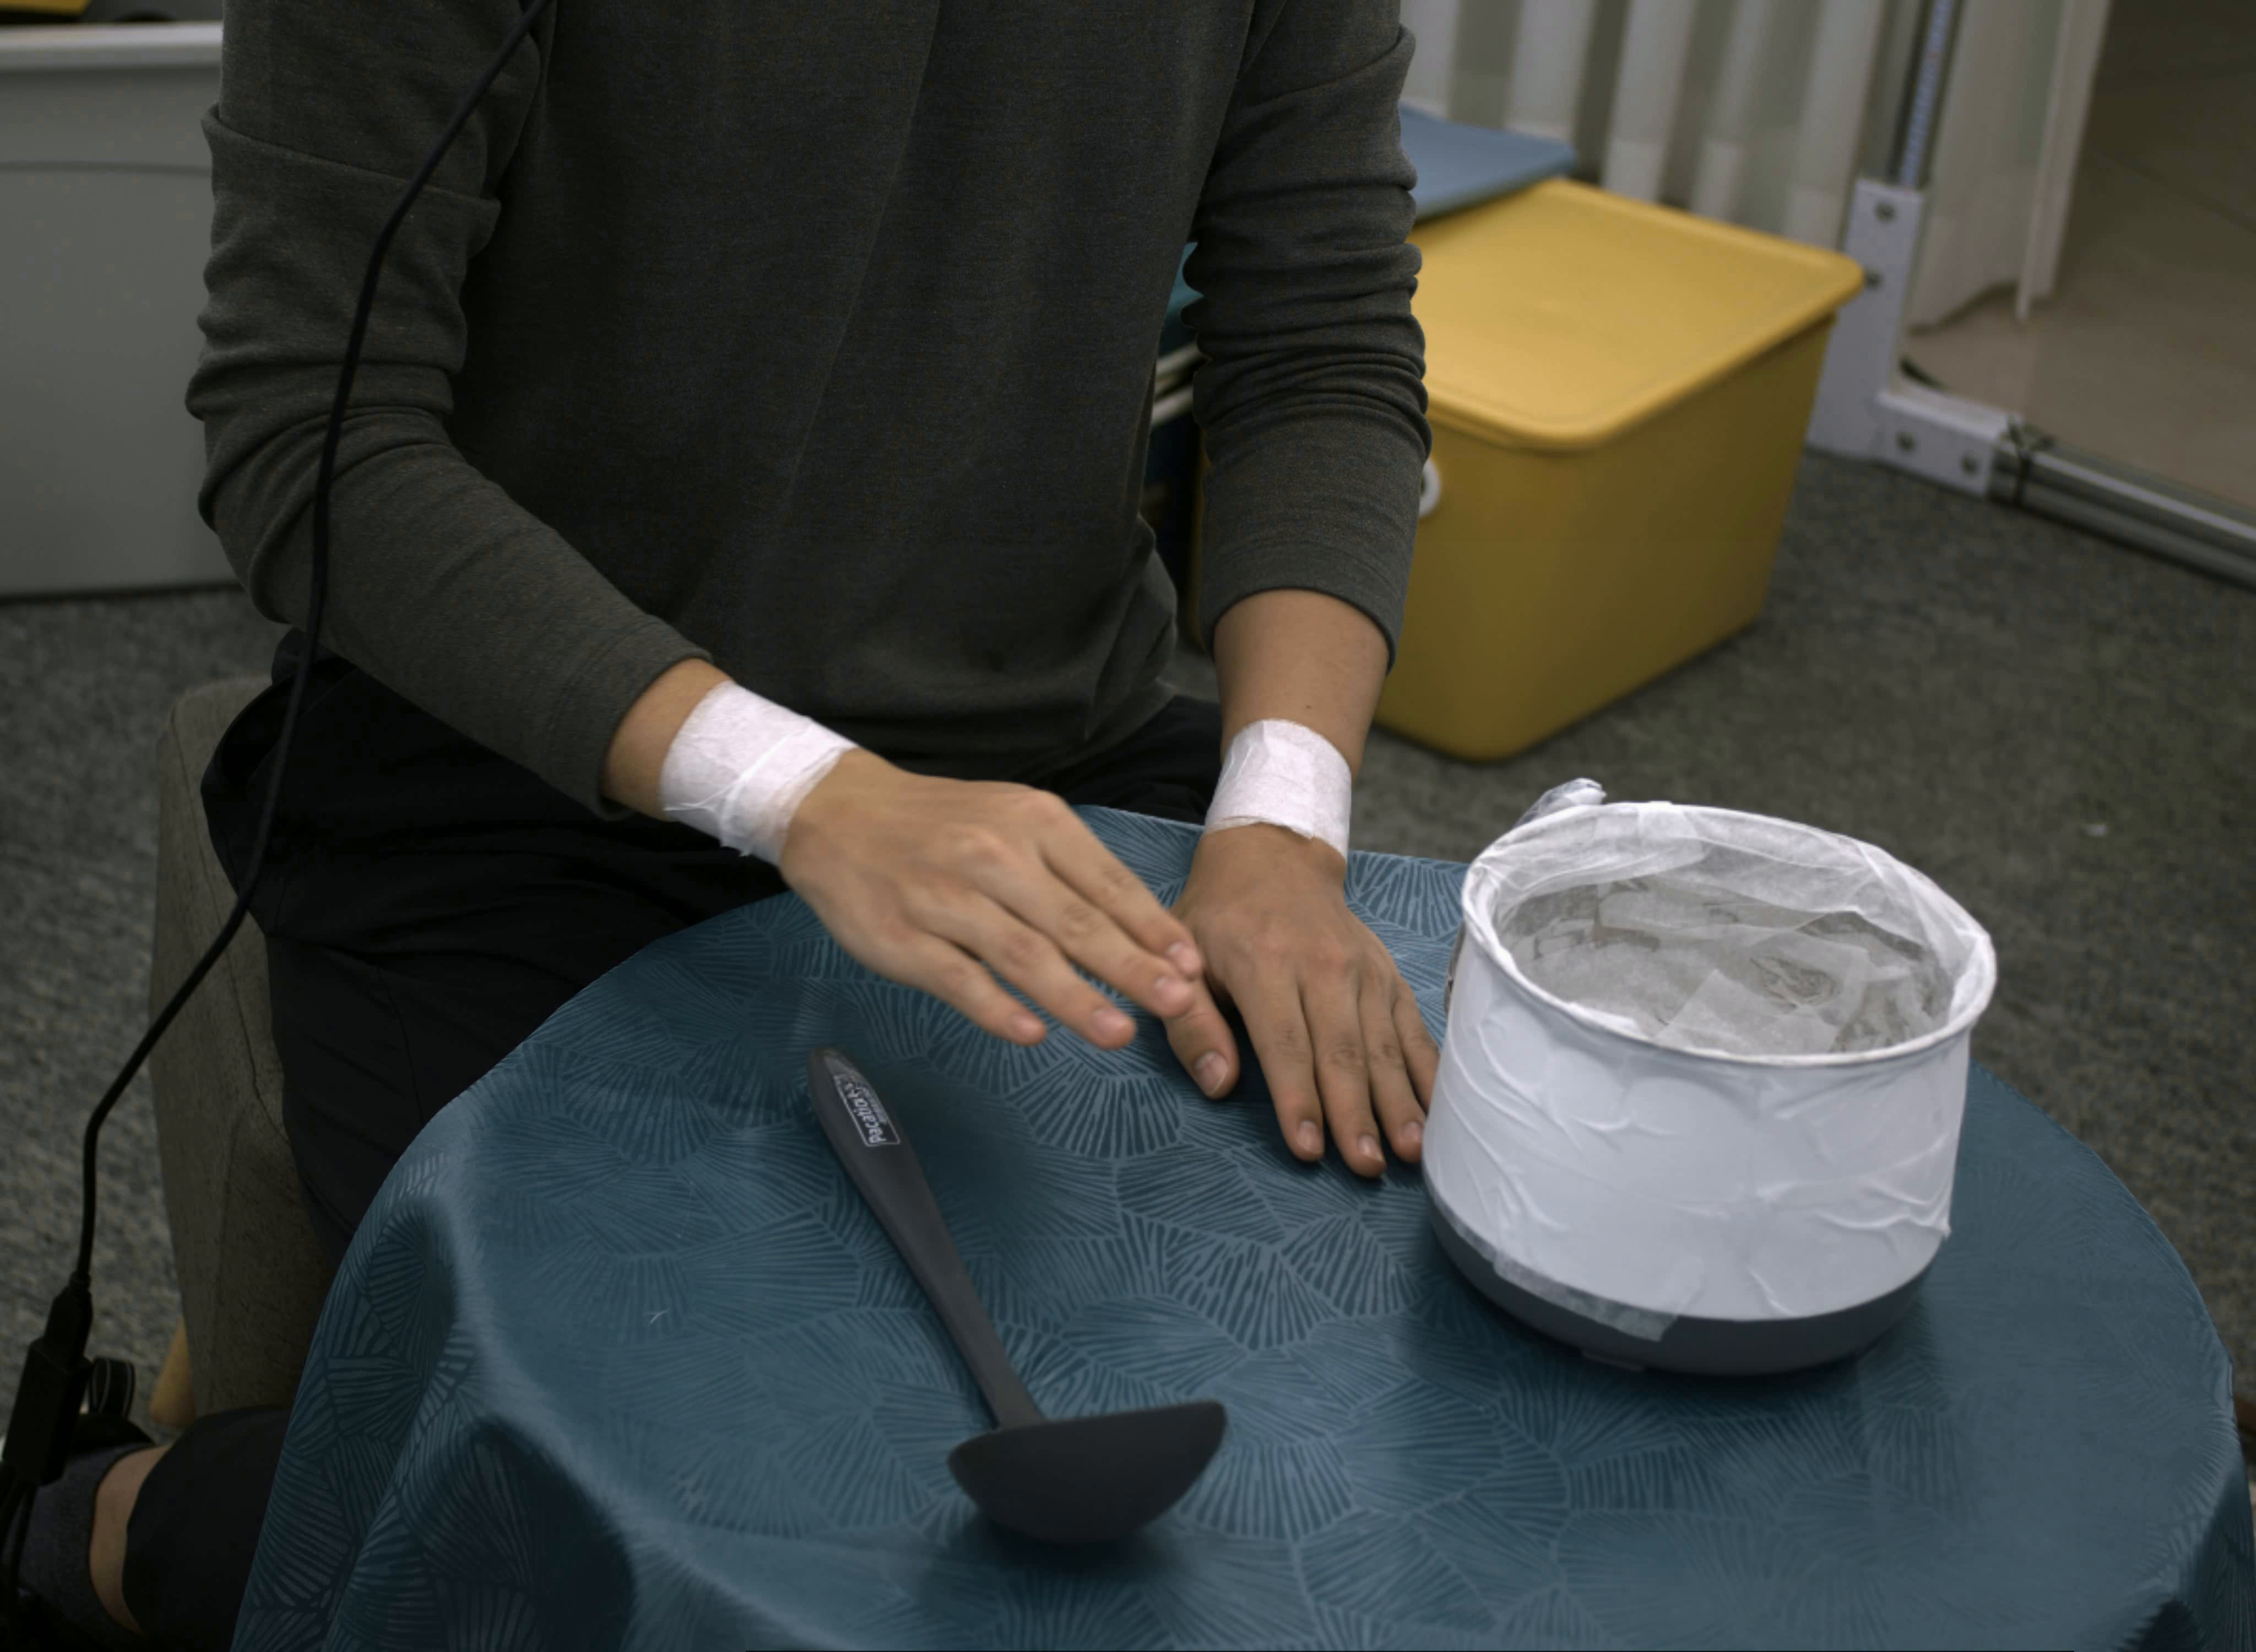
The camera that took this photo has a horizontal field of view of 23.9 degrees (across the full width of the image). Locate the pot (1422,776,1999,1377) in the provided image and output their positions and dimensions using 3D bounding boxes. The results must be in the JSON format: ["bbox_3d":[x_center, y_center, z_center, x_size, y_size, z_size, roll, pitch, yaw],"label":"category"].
[{"bbox_3d":[0.178,0.077,1.788,0.177,0.136,0.236,-7,29,-25],"label":"pot"}]

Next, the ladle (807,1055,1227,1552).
[{"bbox_3d":[-0.054,0.134,1.704,0.085,0.064,0.317,0,27,-20],"label":"ladle"}]
